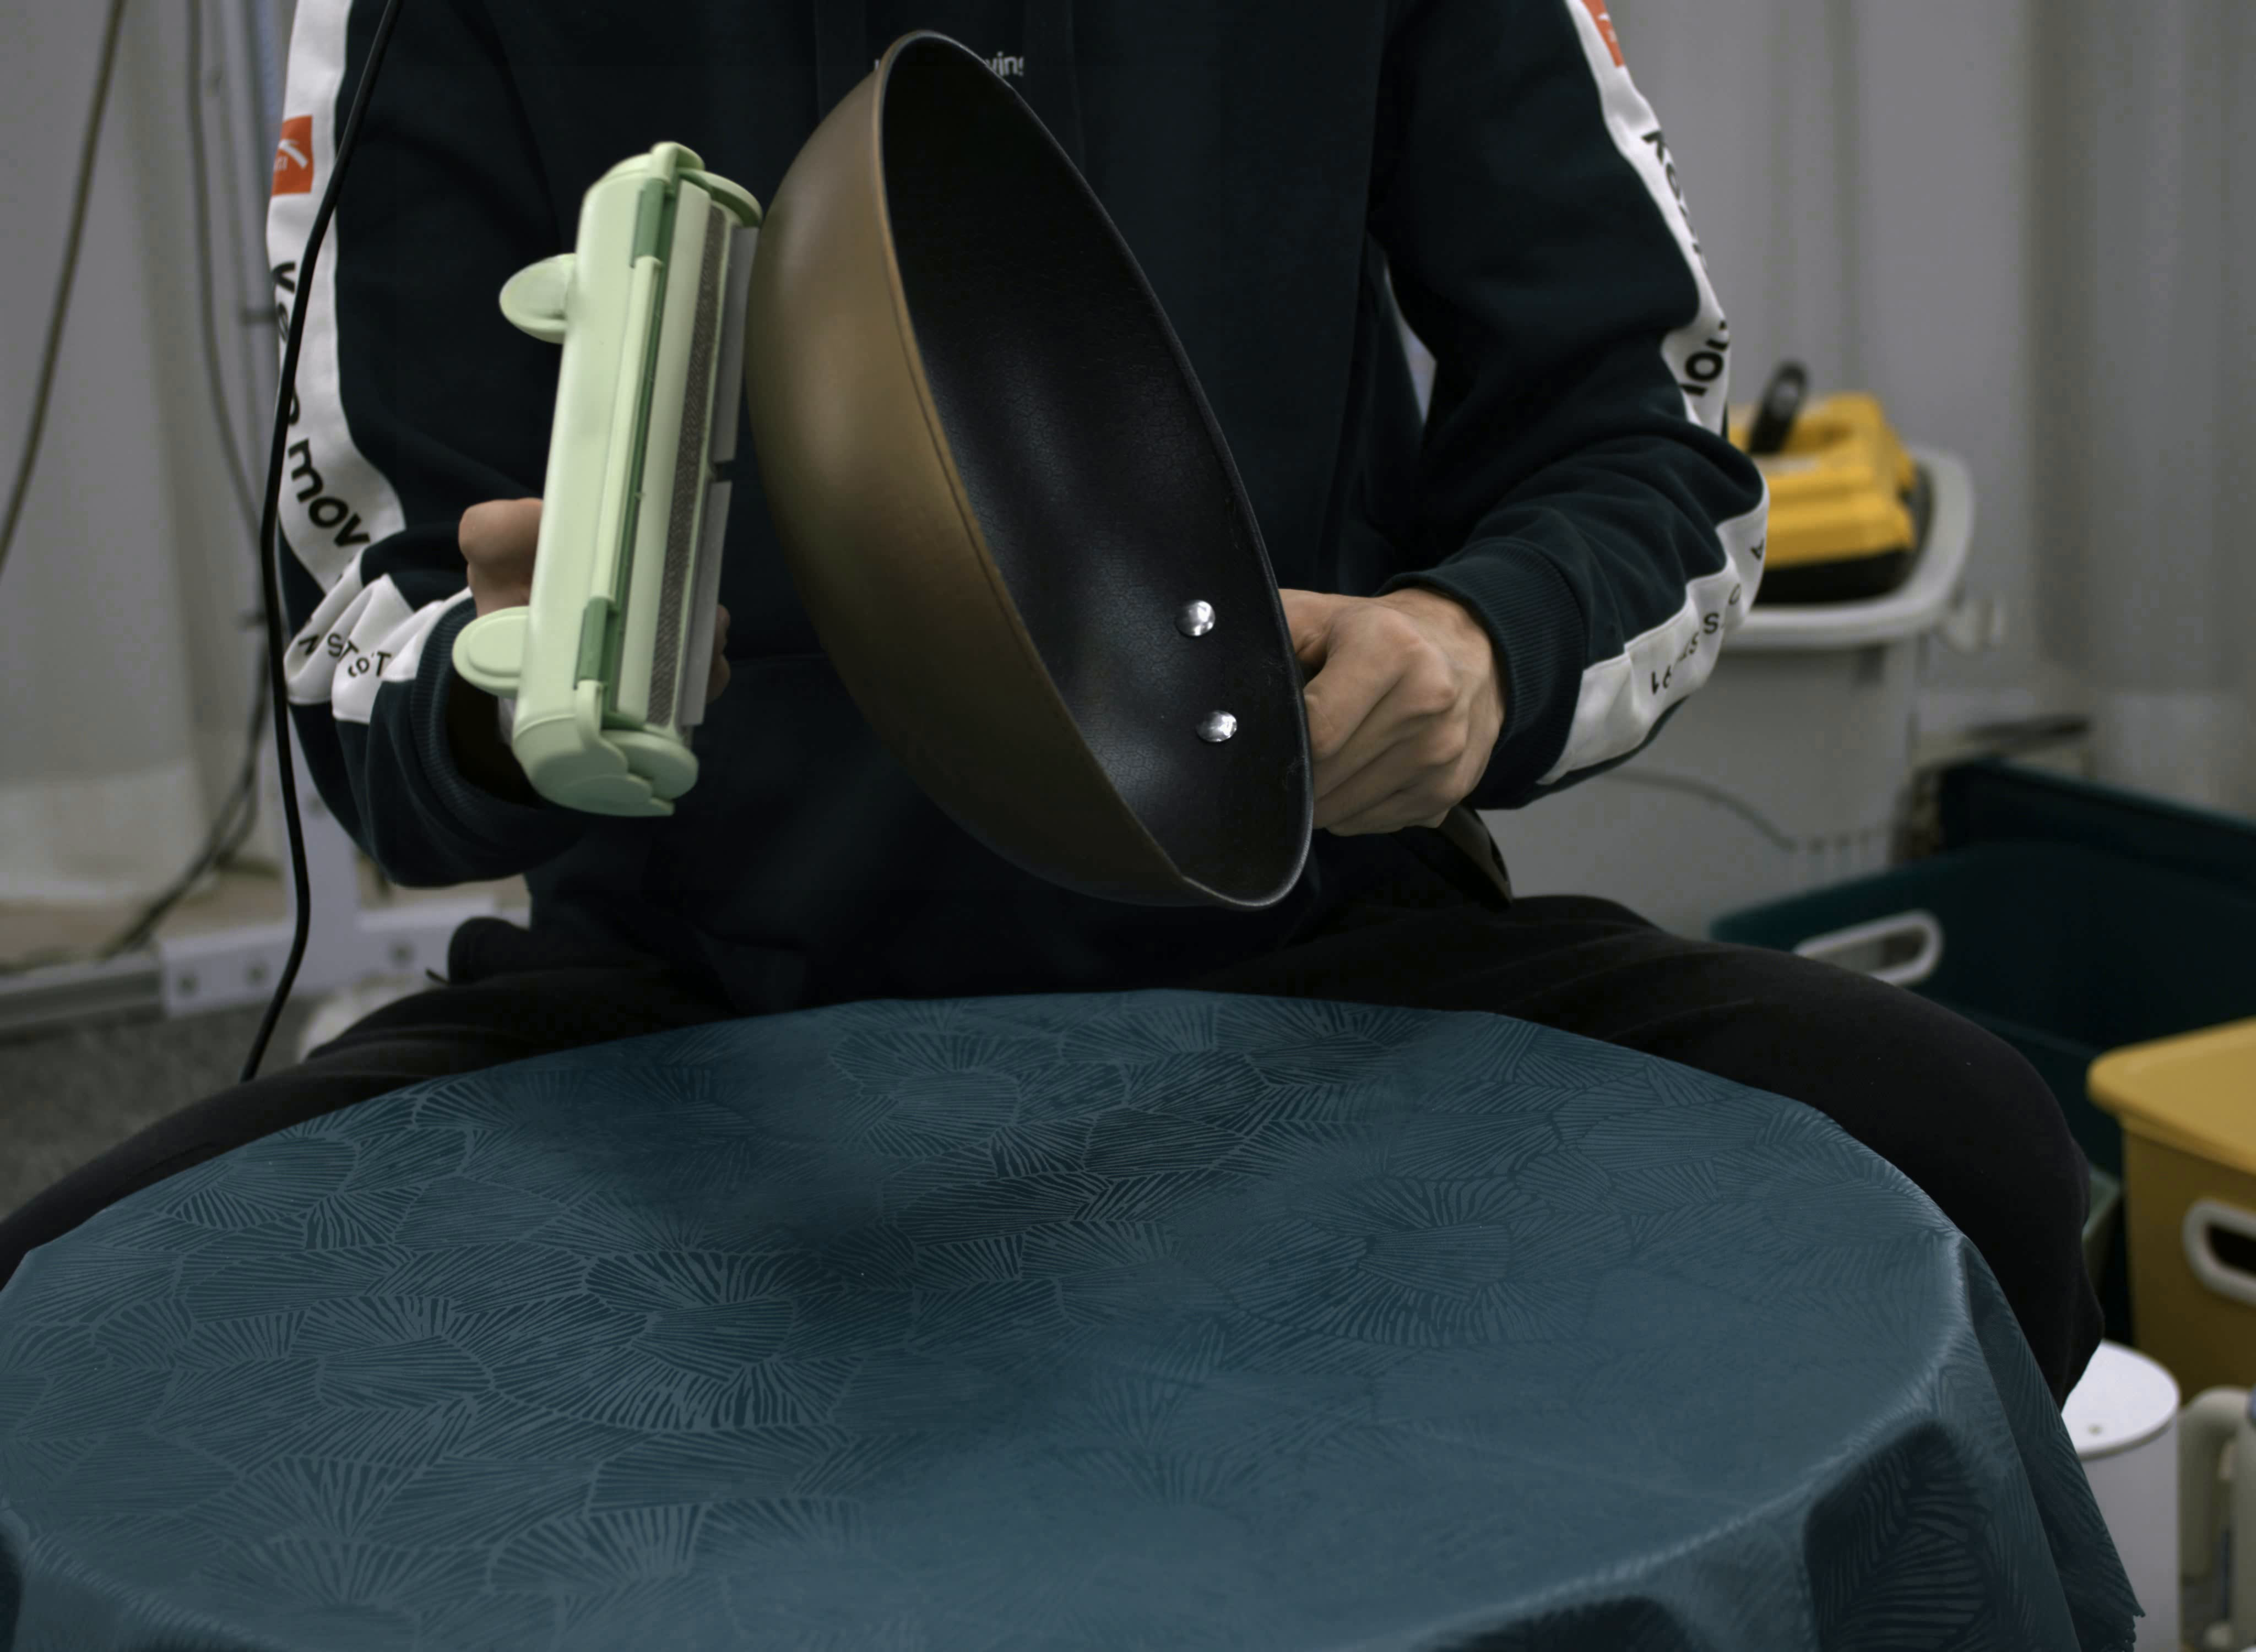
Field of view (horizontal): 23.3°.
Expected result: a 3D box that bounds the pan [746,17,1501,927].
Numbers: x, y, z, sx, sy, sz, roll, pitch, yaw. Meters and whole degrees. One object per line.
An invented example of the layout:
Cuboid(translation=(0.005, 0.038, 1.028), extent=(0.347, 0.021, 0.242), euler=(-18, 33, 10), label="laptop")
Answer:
Cuboid(translation=(-0.003, -0.061, 1.716), extent=(0.086, 0.292, 0.457), euler=(-21, -32, 17), label="pan")

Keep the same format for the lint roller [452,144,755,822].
Cuboid(translation=(-0.164, -0.082, 1.654), extent=(0.082, 0.201, 0.182), euler=(10, -23, -12), label="lint roller")
